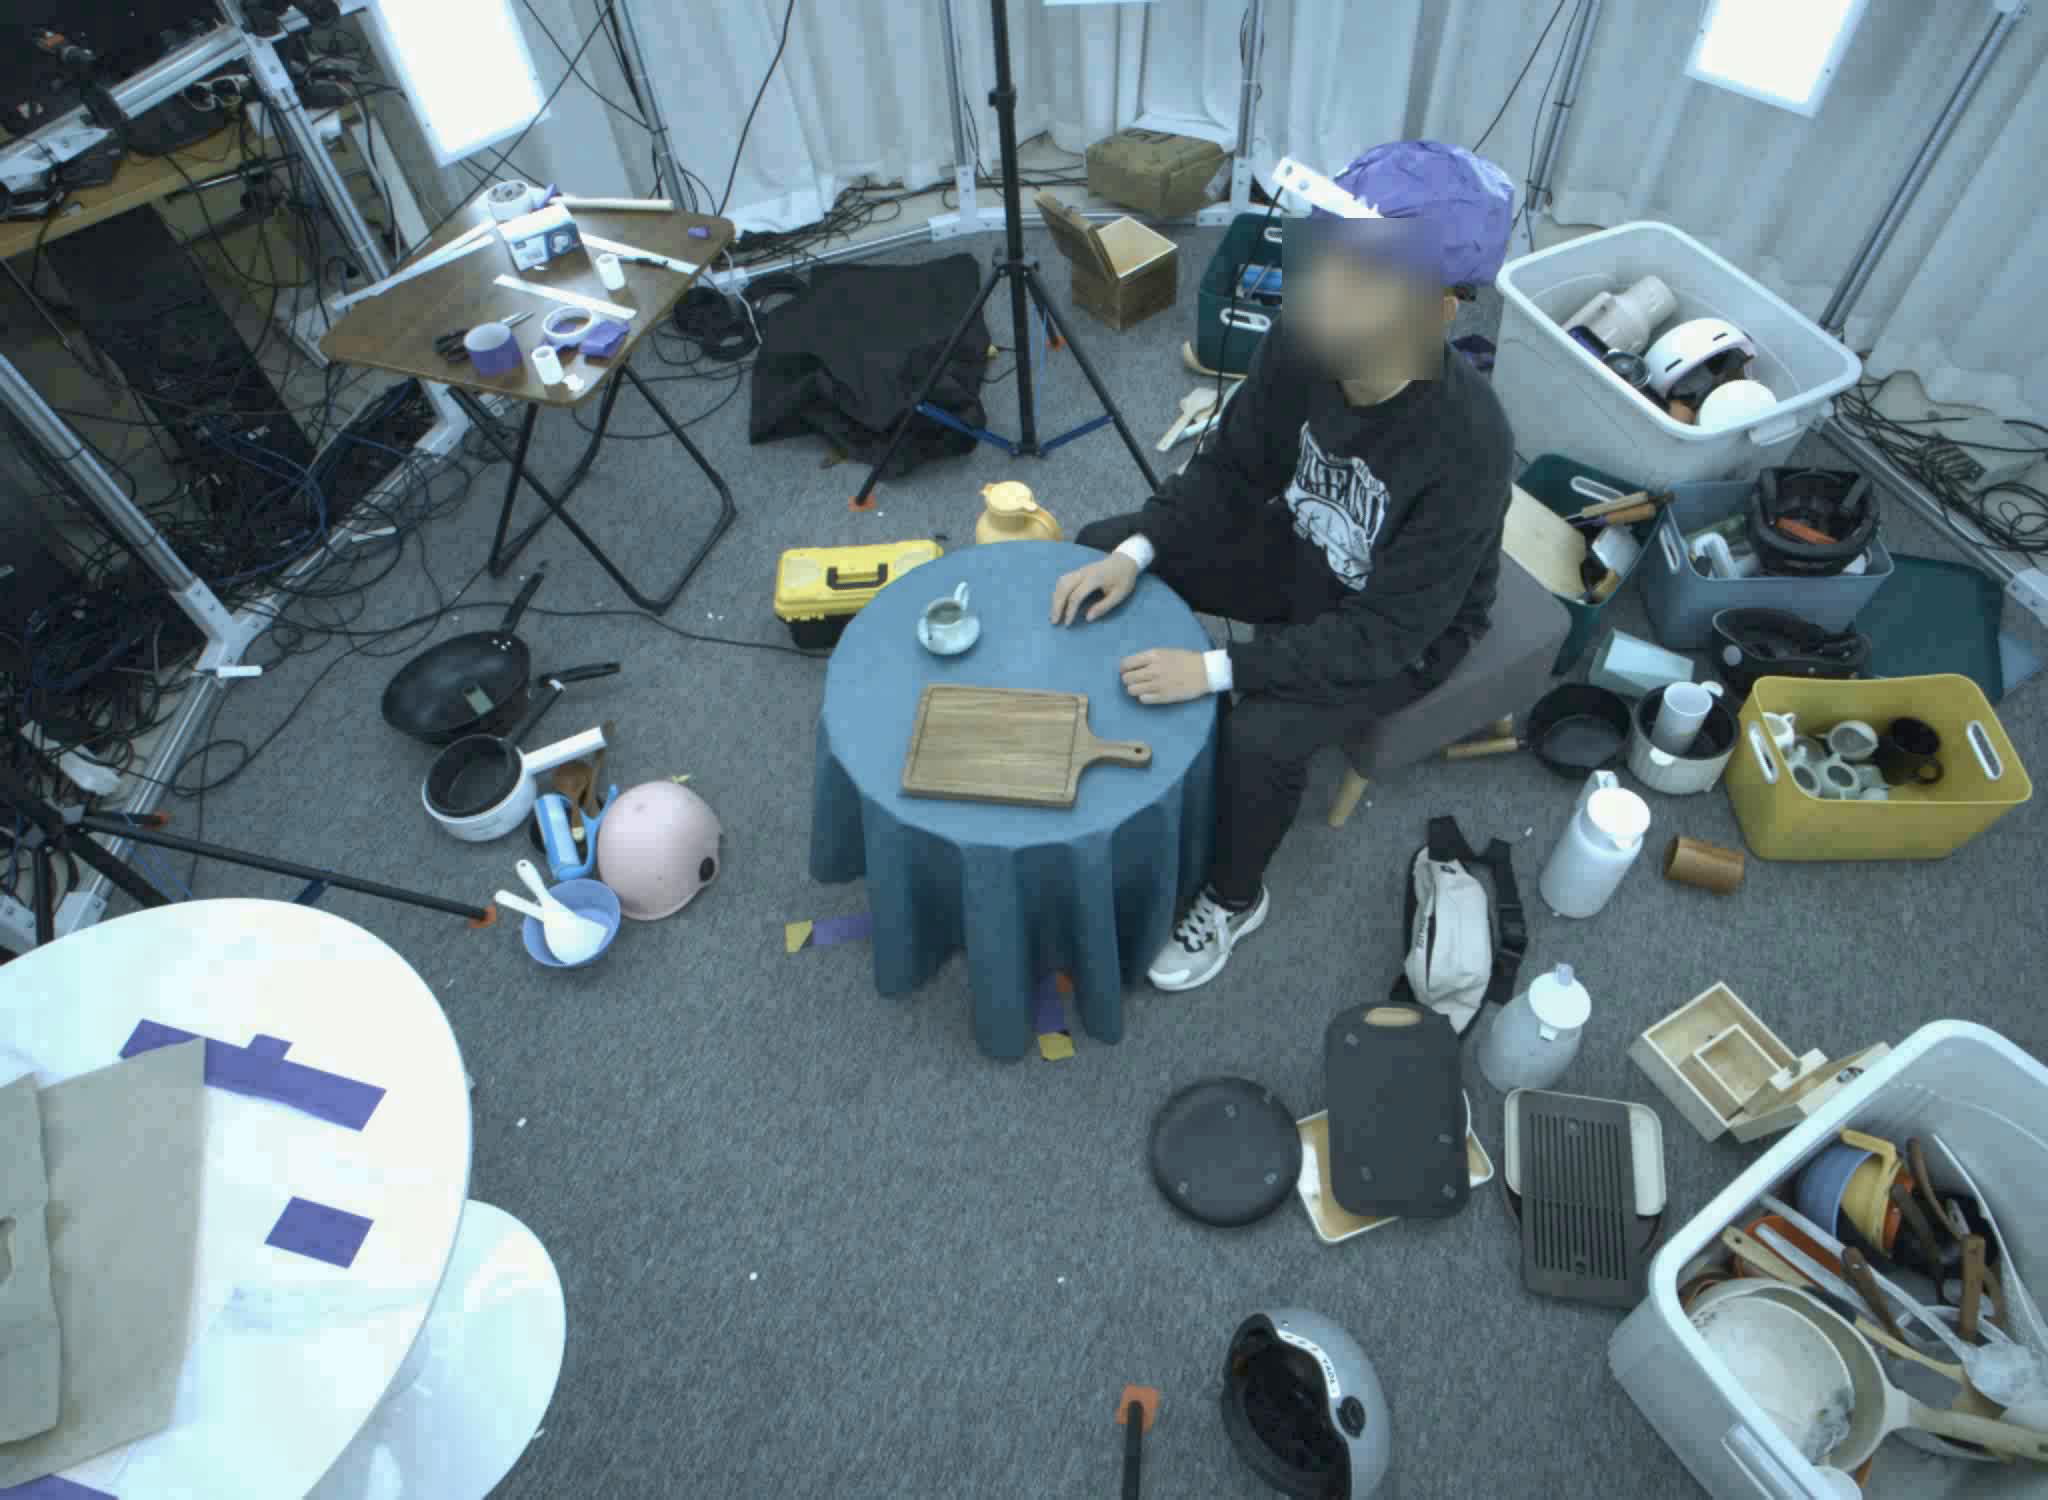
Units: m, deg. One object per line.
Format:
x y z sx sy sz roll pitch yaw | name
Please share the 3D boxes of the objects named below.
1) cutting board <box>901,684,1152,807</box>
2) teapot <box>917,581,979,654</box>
0.008 -0.007 1.775 0.351 0.023 0.199 4 55 5 | cutting board
-0.118 -0.199 1.892 0.095 0.062 0.137 15 57 14 | teapot
